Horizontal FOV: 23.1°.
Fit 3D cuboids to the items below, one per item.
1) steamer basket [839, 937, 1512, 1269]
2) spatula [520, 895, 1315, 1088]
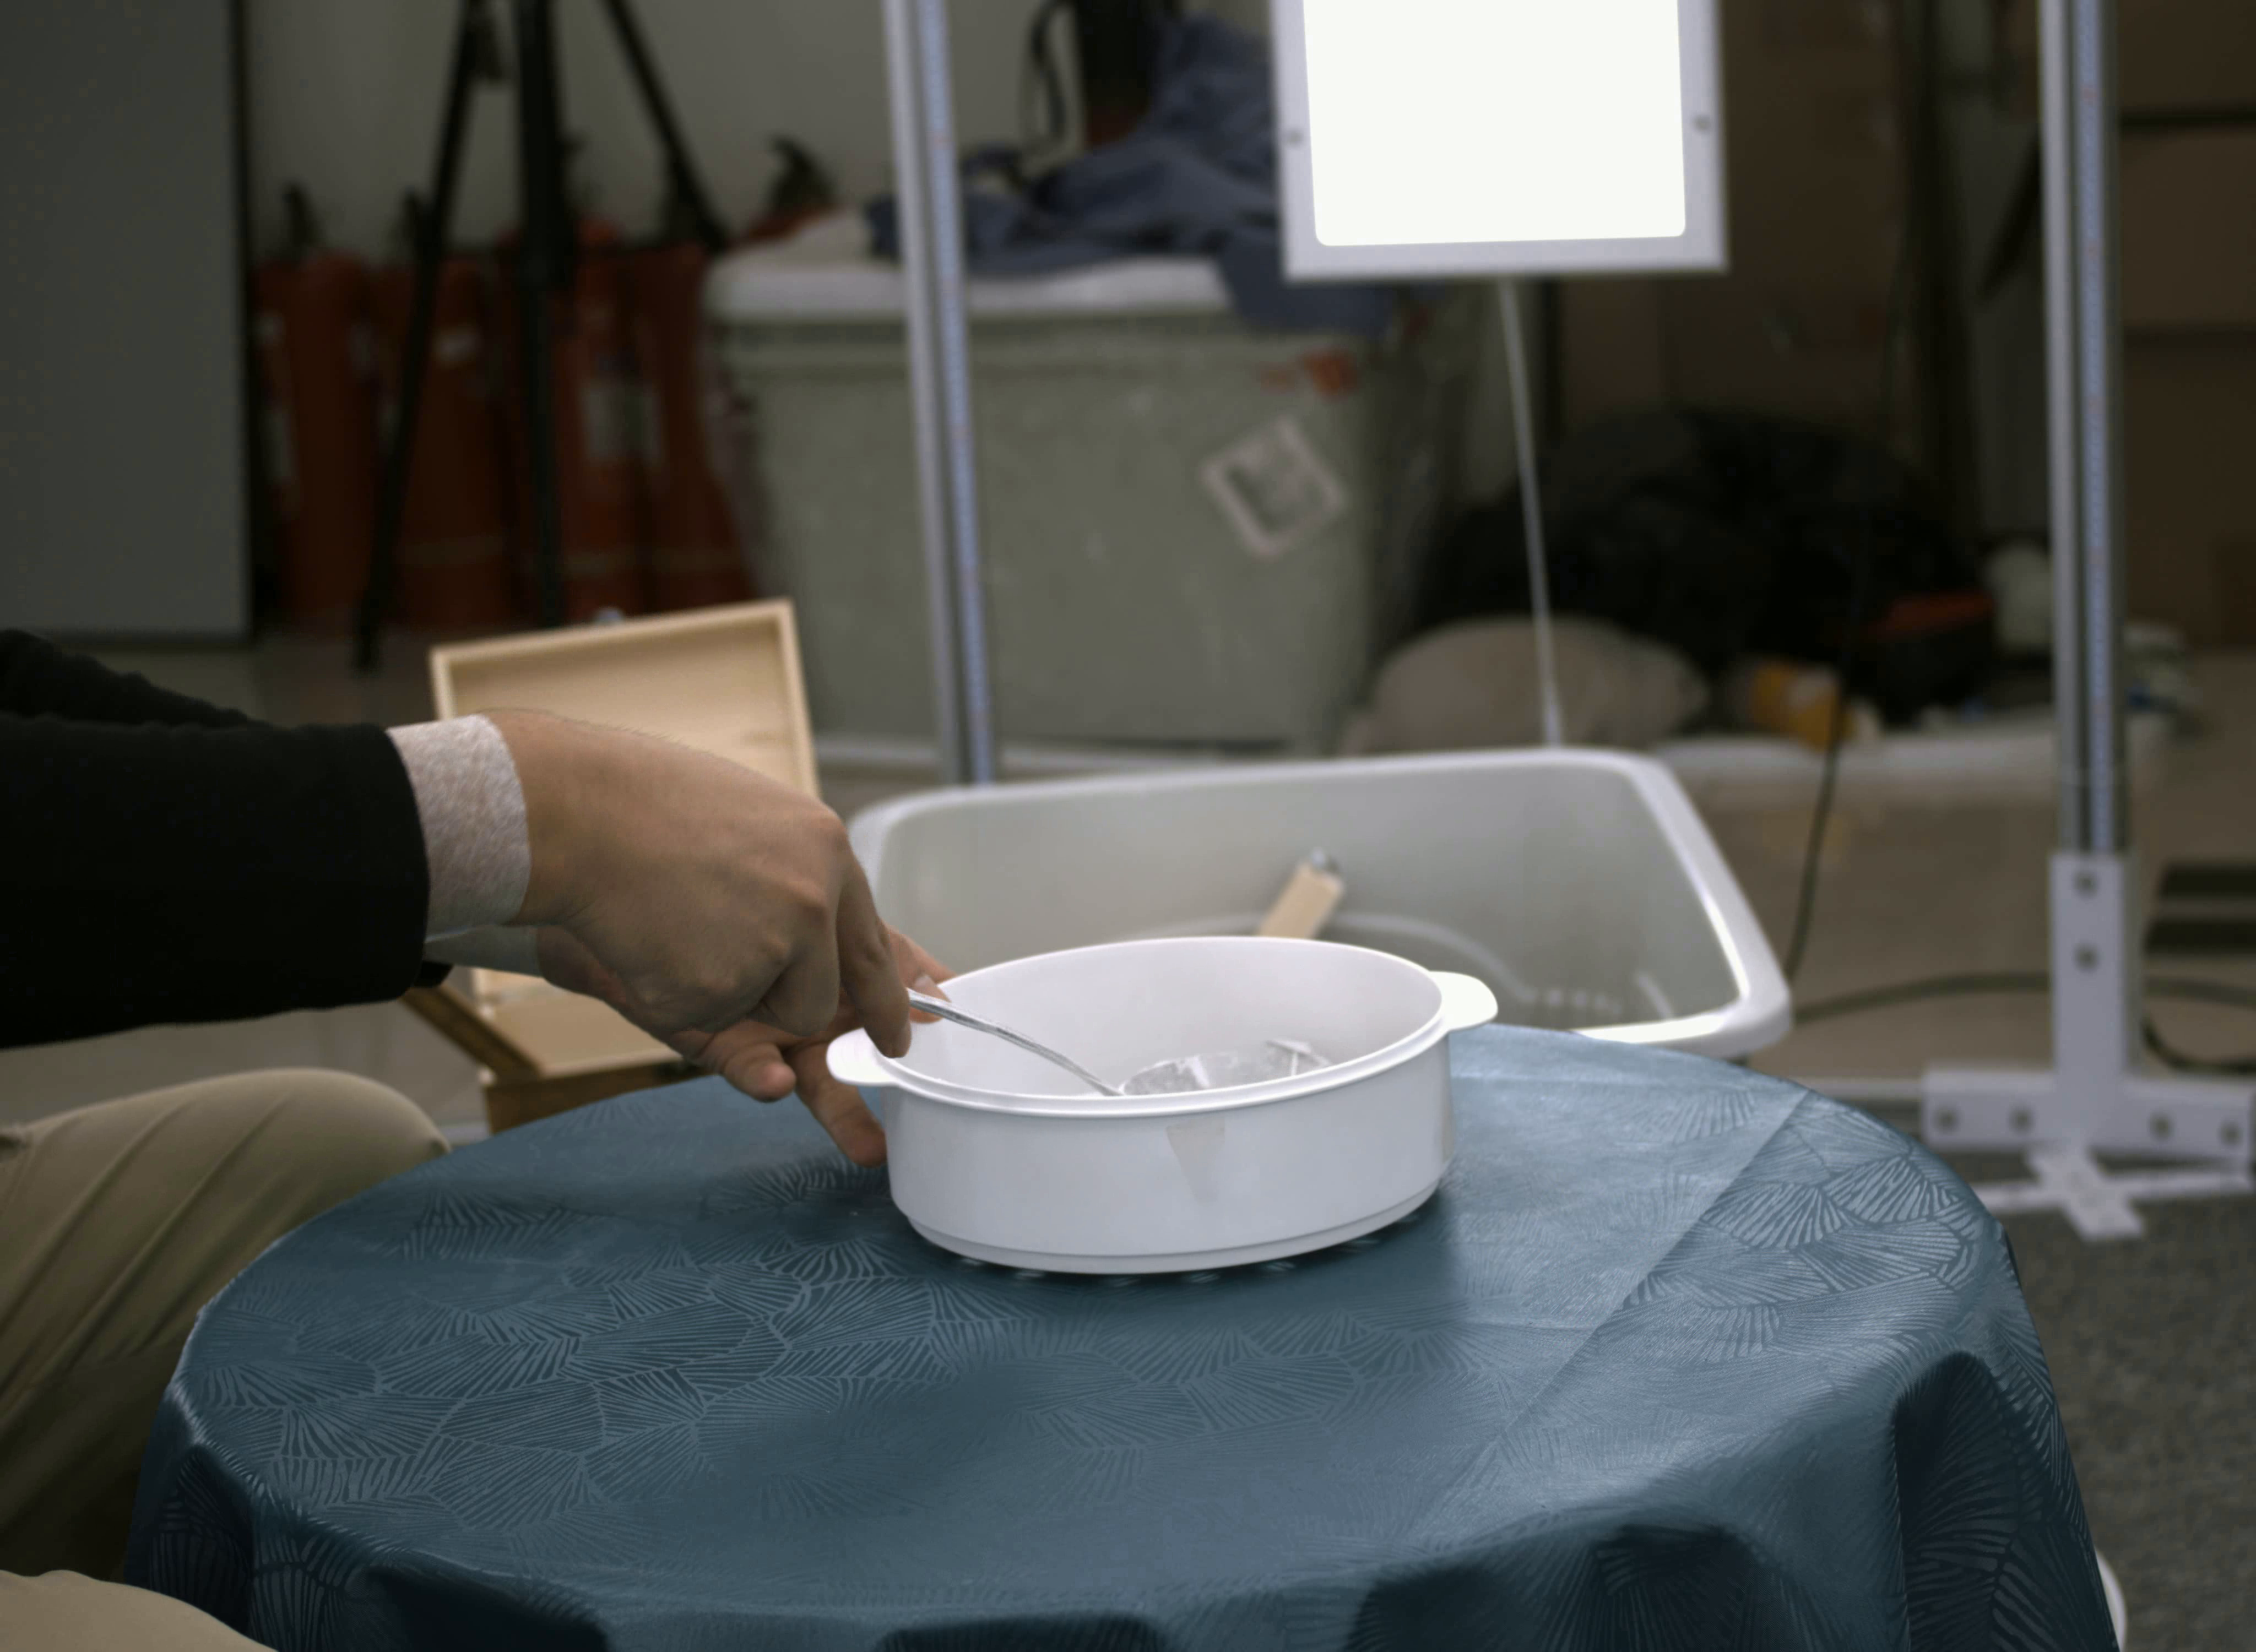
[{"bbox_3d":[0.019,0.094,1.876,0.230,0.069,0.202,-7,13,-1],"label":"steamer basket"},{"bbox_3d":[-0.046,0.061,1.801,0.357,0.045,0.100,22,7,-40],"label":"spatula"}]
